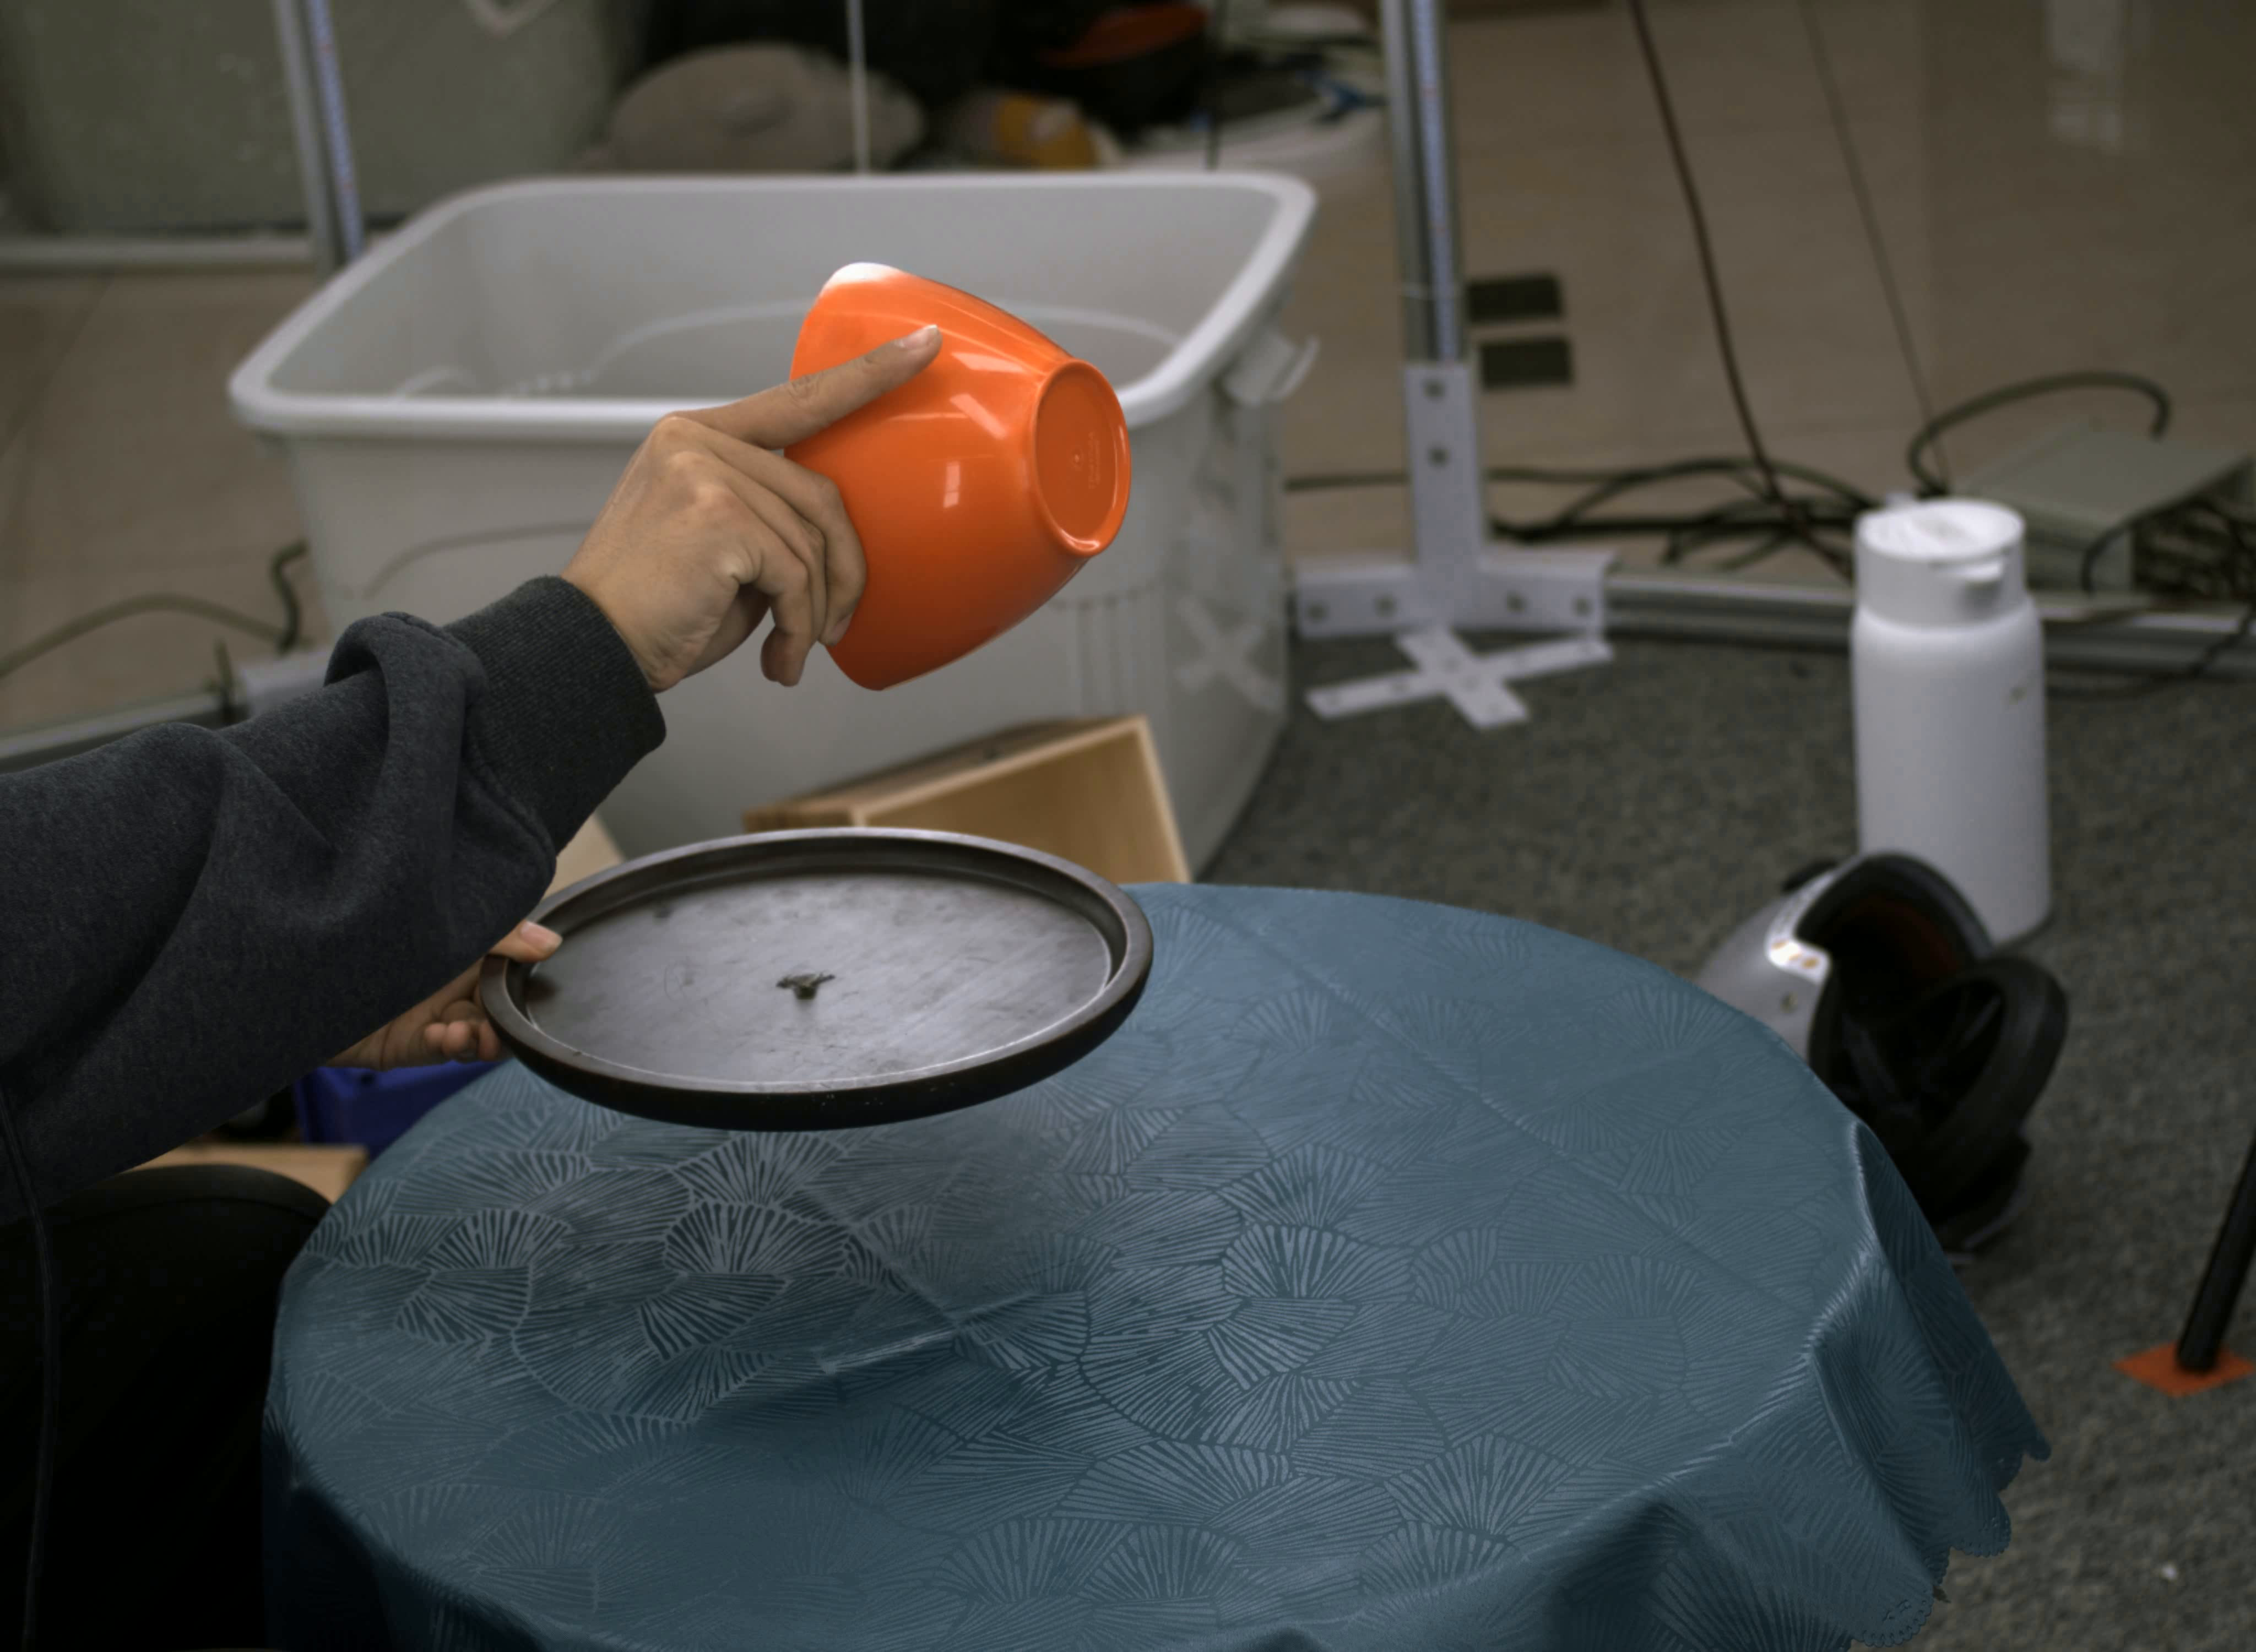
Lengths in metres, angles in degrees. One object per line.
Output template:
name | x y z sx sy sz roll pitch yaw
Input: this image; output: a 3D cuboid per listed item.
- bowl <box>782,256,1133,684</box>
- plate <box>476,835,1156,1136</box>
bowl | -0.053 -0.124 1.930 0.104 0.150 0.146 0 25 30
plate | -0.116 0.057 2.115 0.254 0.029 0.251 -1 23 1
